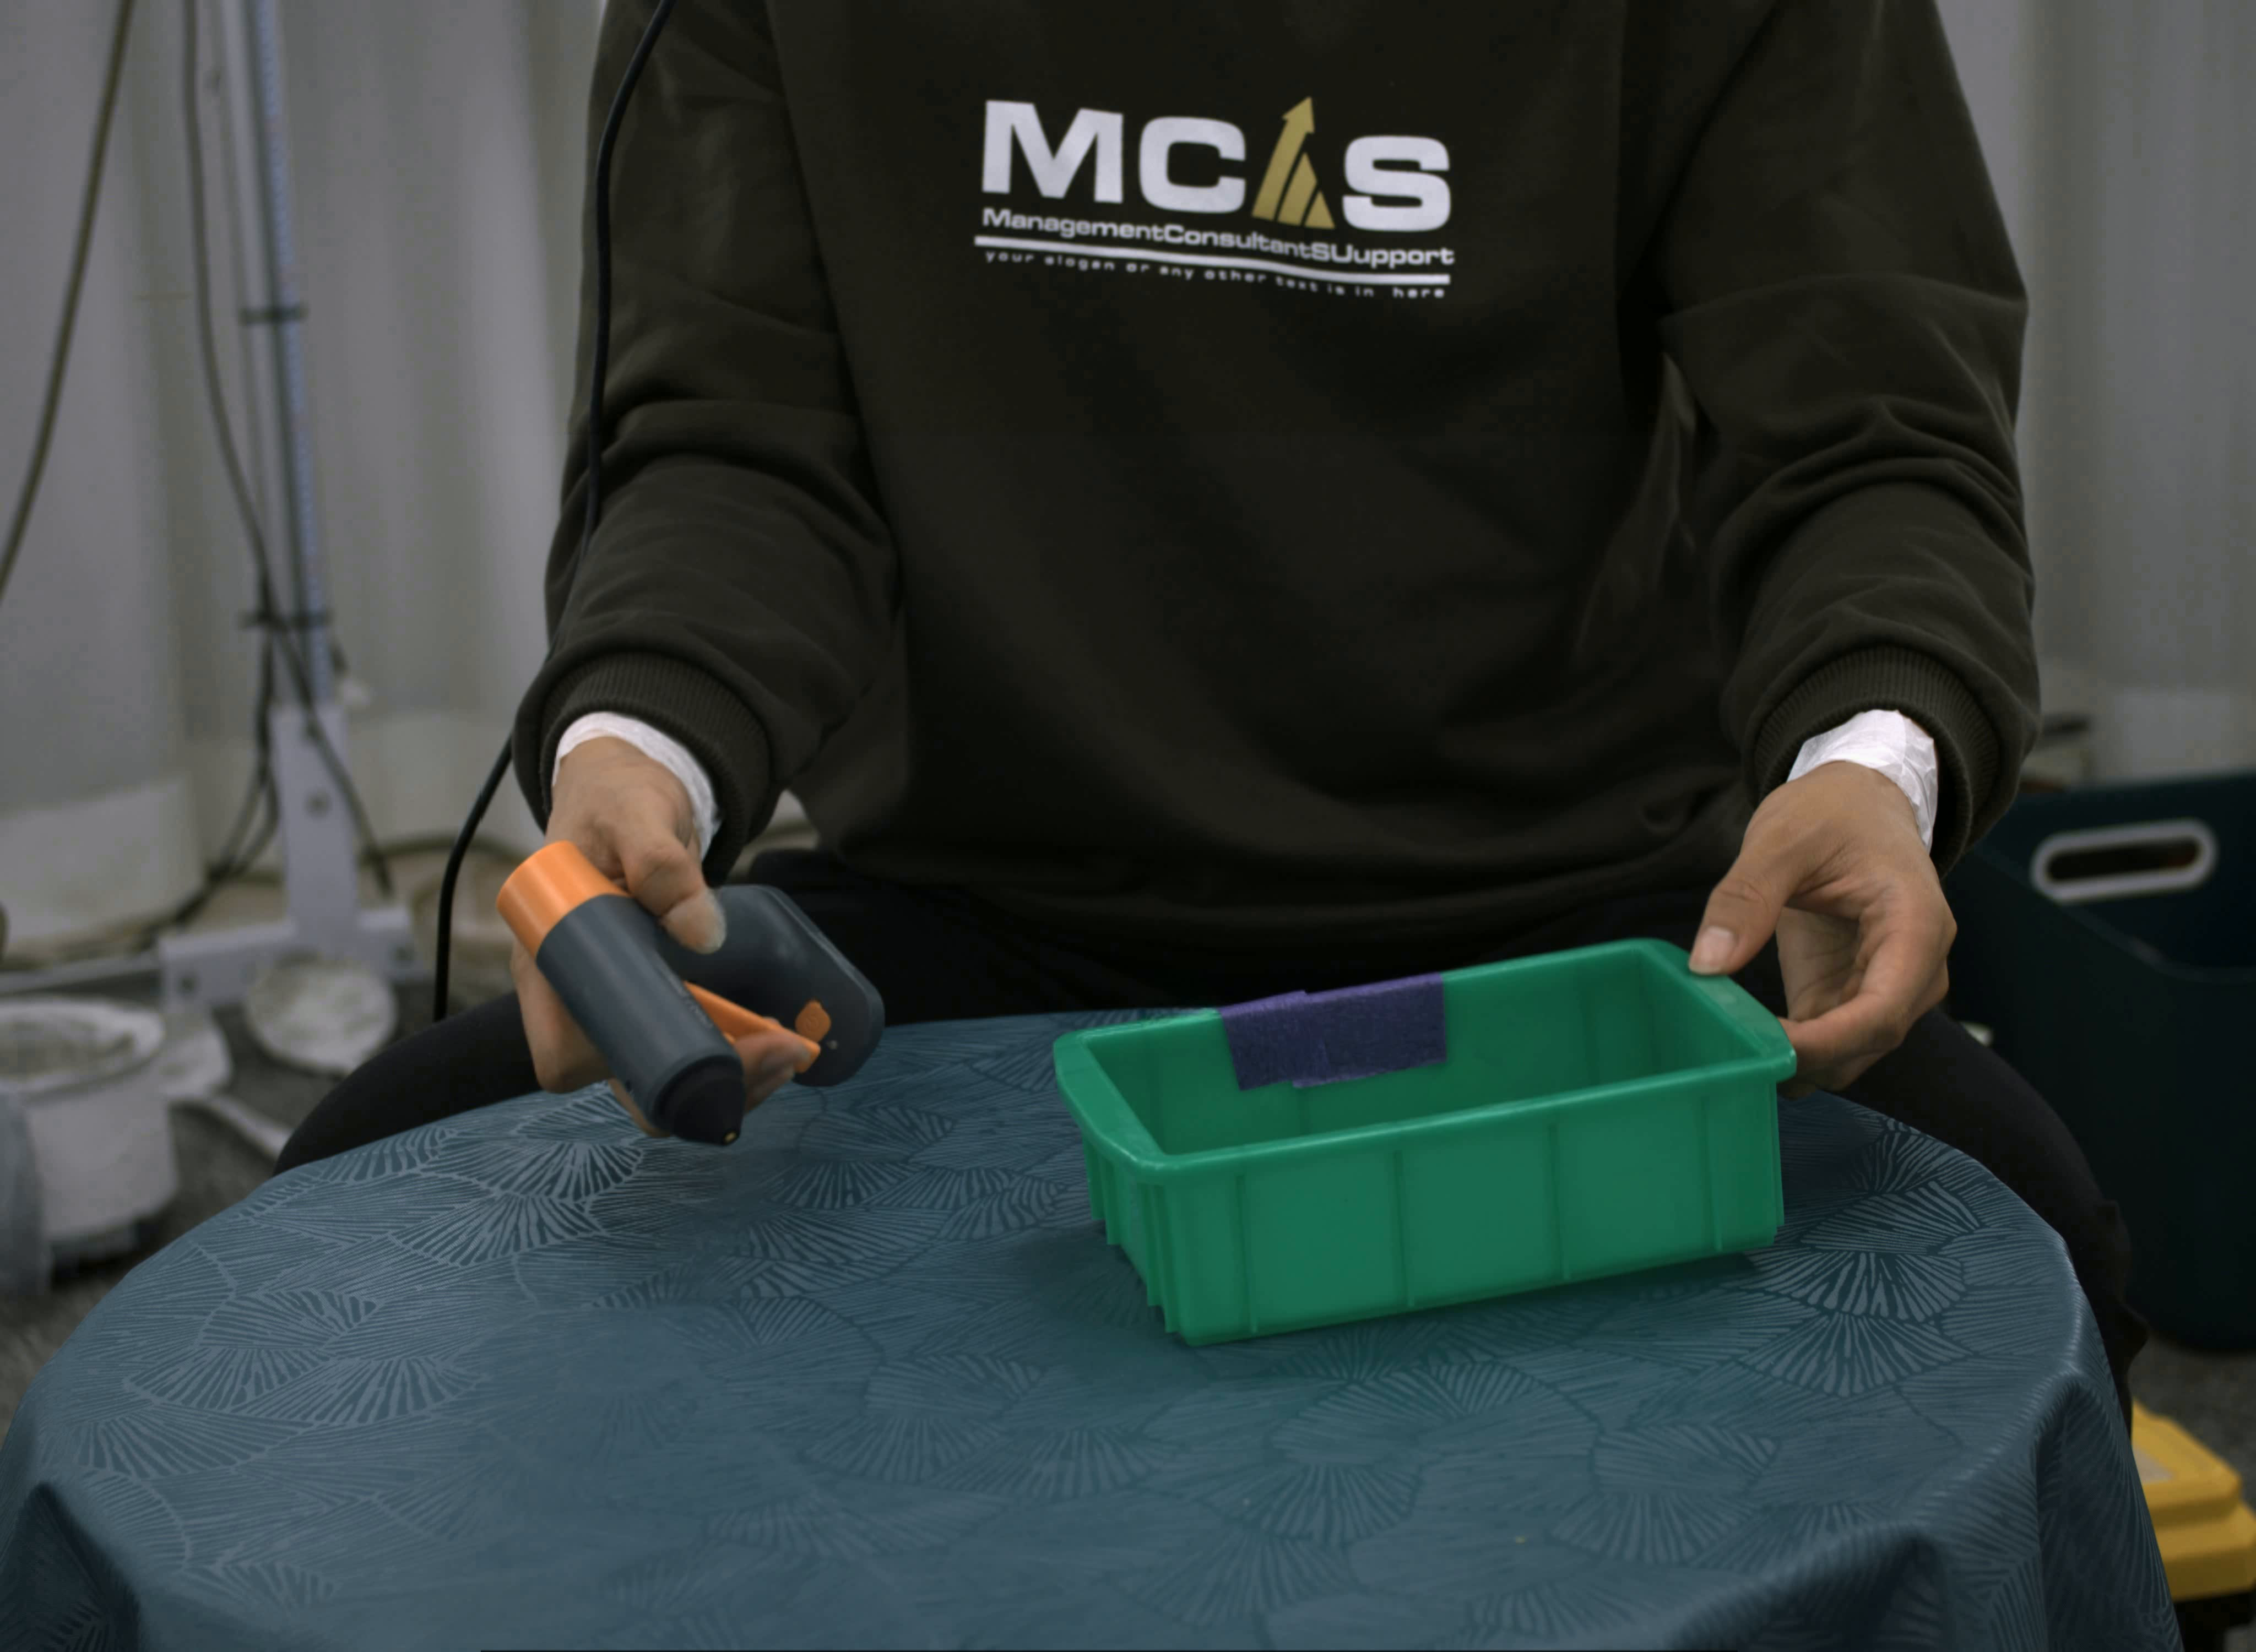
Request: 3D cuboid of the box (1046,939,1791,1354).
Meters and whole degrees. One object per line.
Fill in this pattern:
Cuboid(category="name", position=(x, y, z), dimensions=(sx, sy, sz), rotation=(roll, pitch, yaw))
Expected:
Cuboid(category="box", position=(0.087, 0.096, 1.640), dimensions=(0.209, 0.065, 0.140), rotation=(-10, 15, -11))

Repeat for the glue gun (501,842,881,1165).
Cuboid(category="glue gun", position=(-0.134, 0.057, 1.719), dimensions=(0.119, 0.041, 0.139), rotation=(49, 19, 17))
